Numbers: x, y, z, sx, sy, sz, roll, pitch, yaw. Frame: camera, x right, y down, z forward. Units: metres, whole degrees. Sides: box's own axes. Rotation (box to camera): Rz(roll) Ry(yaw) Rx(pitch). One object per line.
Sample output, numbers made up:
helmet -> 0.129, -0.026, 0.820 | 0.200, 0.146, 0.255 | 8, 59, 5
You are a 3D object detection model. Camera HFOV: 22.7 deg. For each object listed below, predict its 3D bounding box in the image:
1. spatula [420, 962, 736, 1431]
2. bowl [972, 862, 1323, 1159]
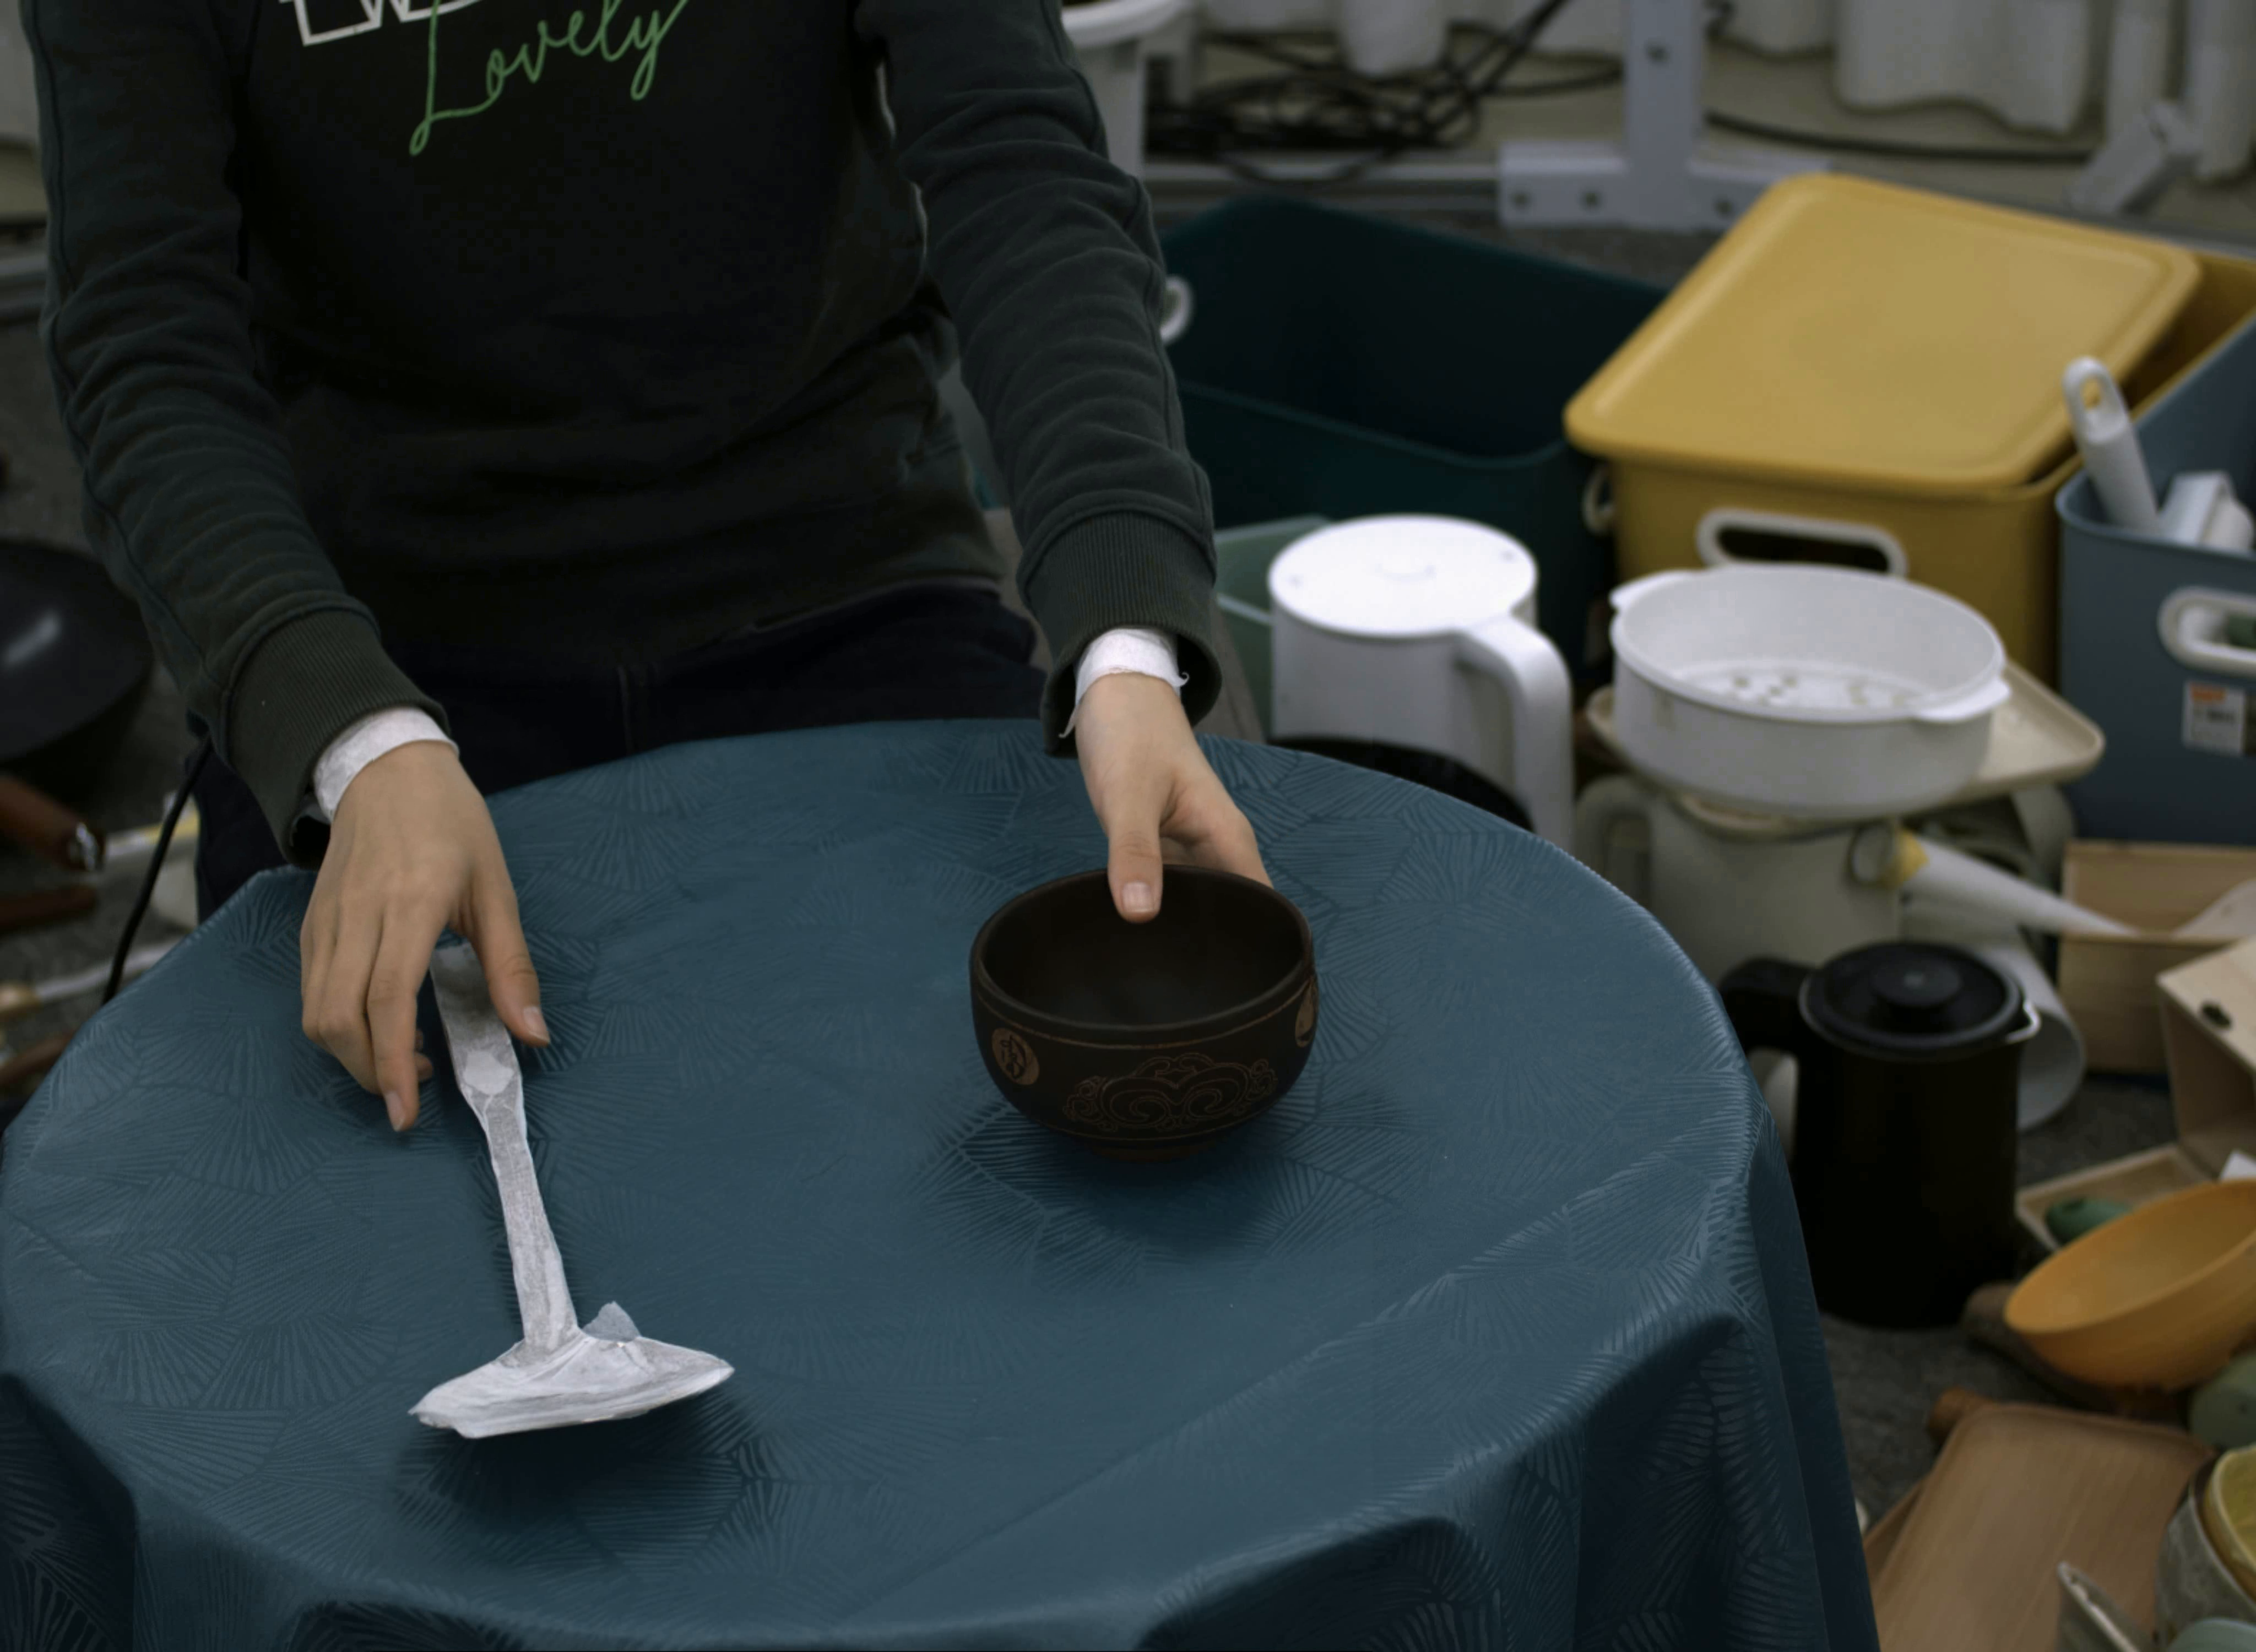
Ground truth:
spatula -> -0.198, 0.114, 1.854 | 0.098, 0.044, 0.369 | -9, 28, -8
bowl -> 0.007, 0.068, 1.887 | 0.117, 0.069, 0.120 | -1, 26, 1
